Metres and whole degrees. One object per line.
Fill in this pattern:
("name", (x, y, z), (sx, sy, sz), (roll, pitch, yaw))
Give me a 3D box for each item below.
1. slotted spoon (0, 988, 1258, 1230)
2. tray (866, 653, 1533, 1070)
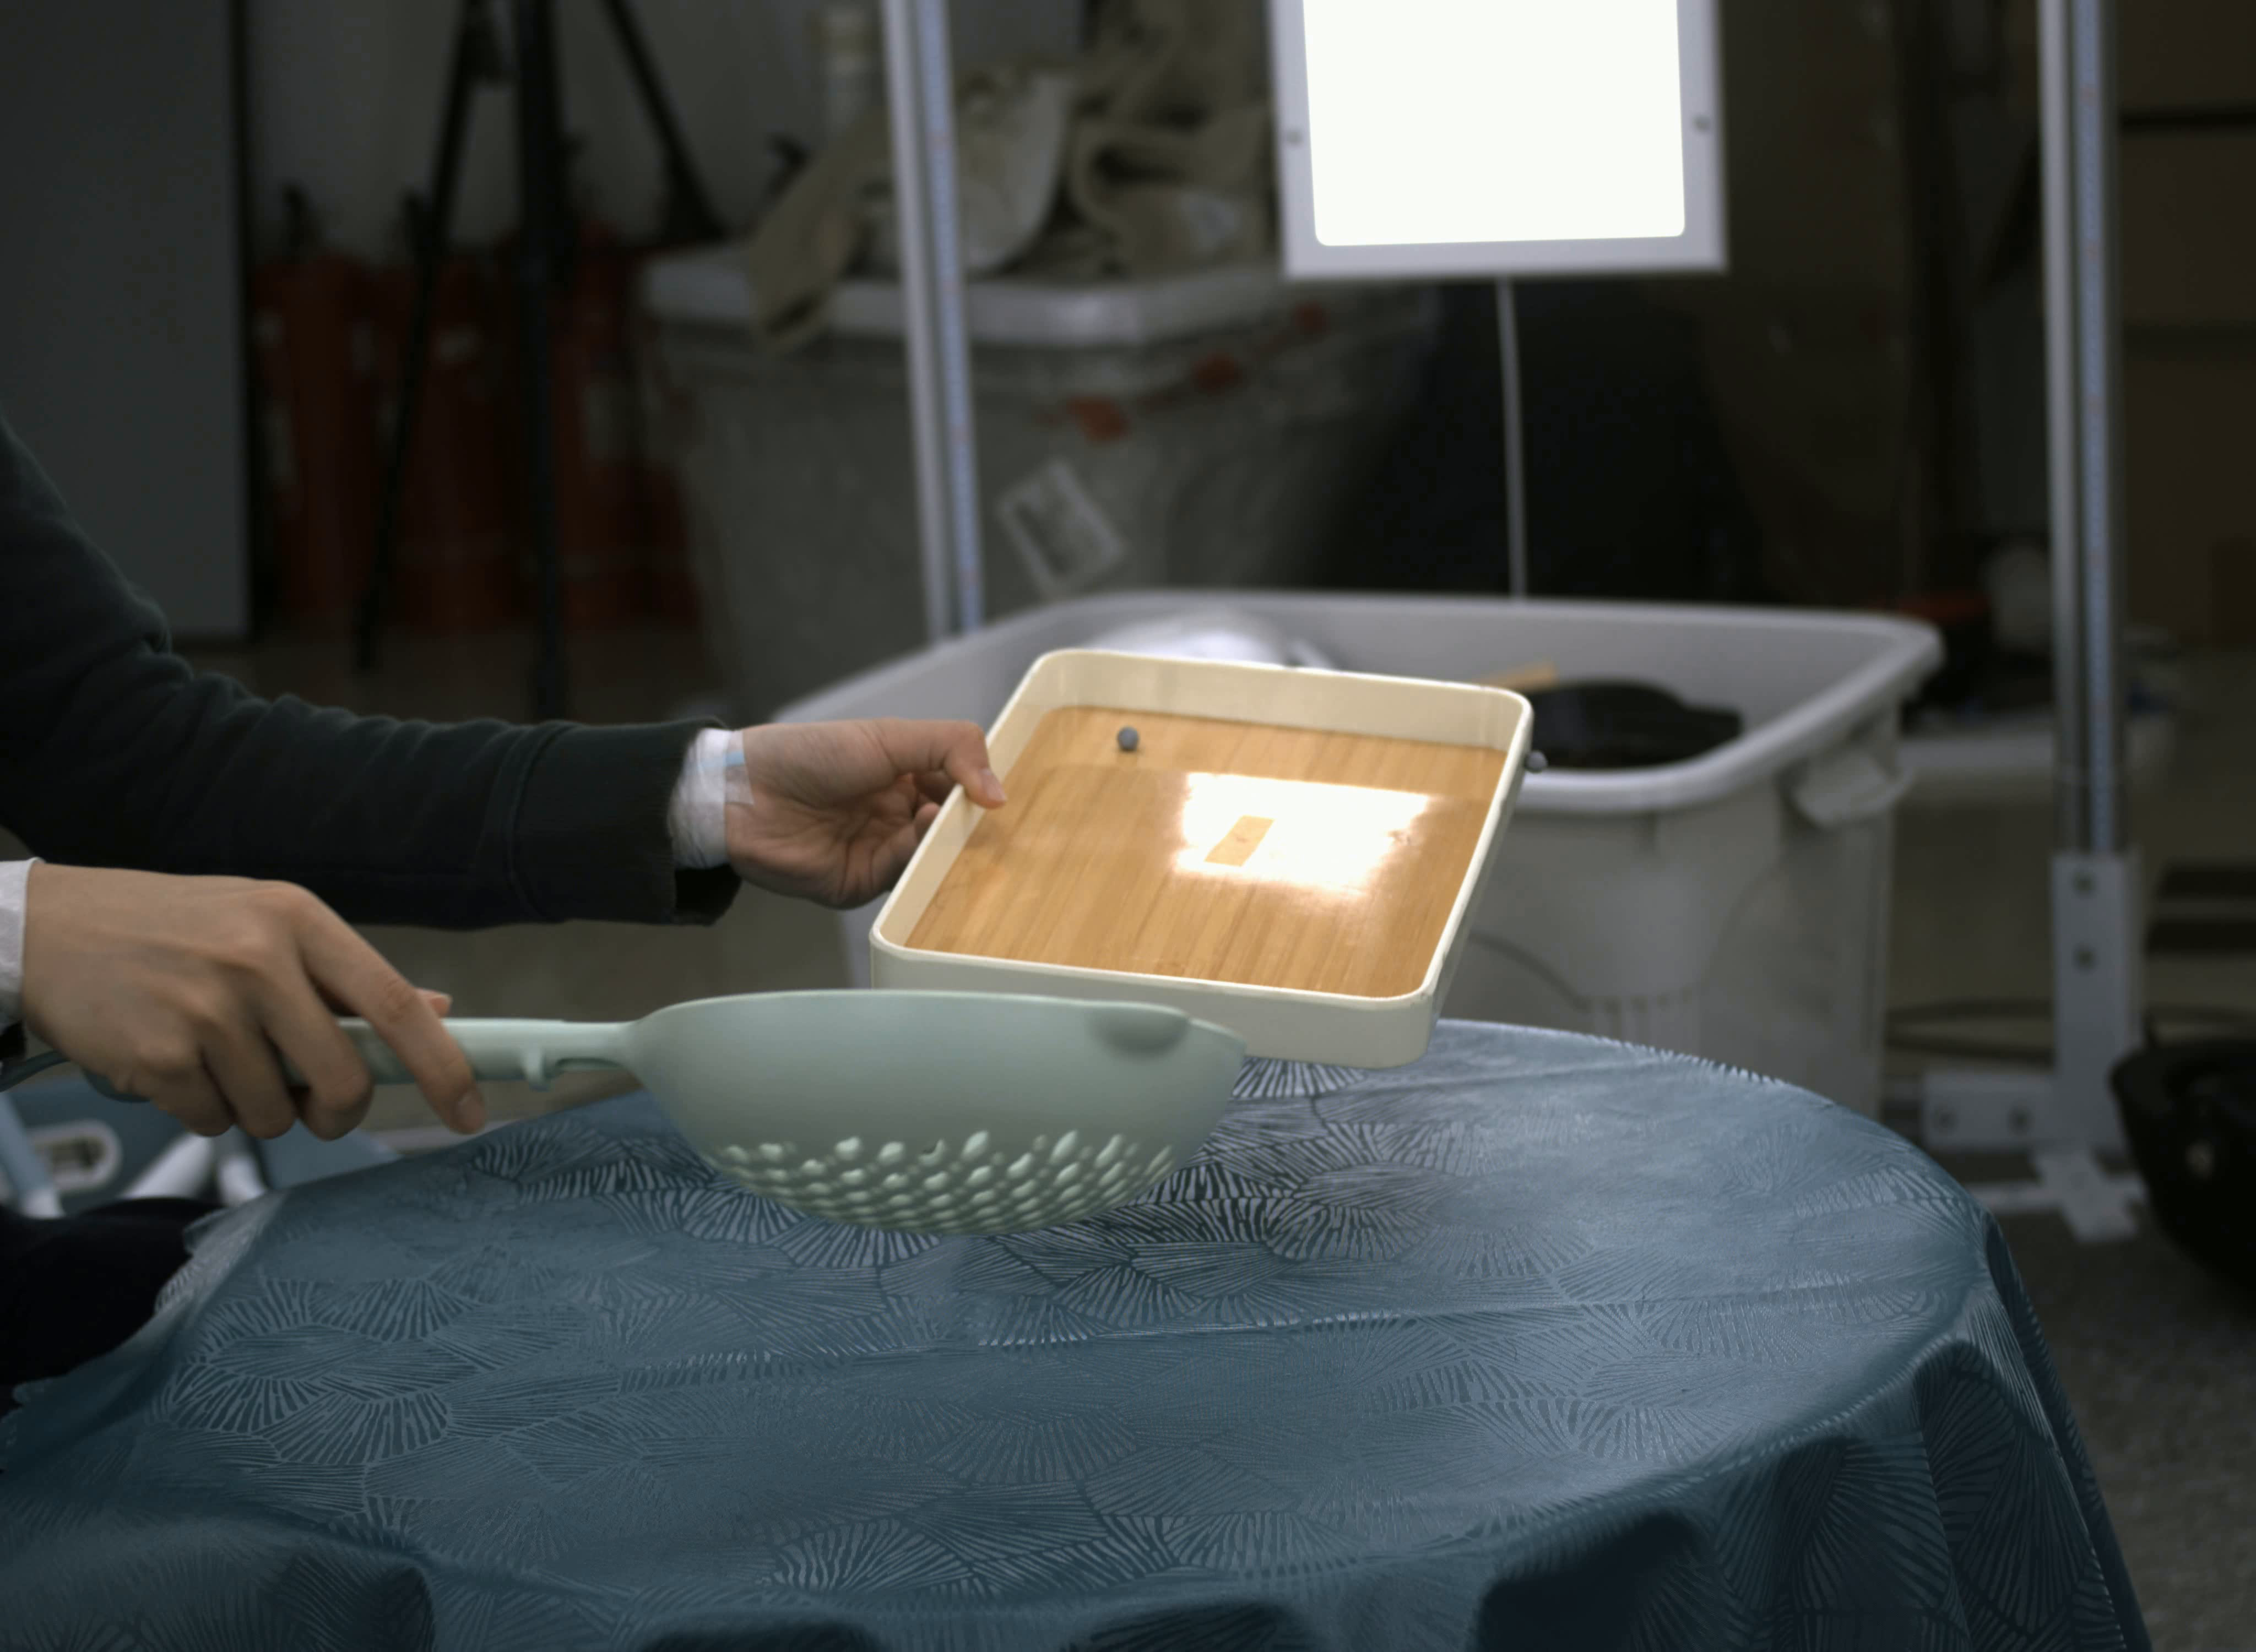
("slotted spoon", (-0.145, 0.067, 1.571), (0.360, 0.075, 0.168), (9, -9, 9))
("tray", (0.031, 0.008, 1.932), (0.193, 0.027, 0.296), (5, 22, 11))
